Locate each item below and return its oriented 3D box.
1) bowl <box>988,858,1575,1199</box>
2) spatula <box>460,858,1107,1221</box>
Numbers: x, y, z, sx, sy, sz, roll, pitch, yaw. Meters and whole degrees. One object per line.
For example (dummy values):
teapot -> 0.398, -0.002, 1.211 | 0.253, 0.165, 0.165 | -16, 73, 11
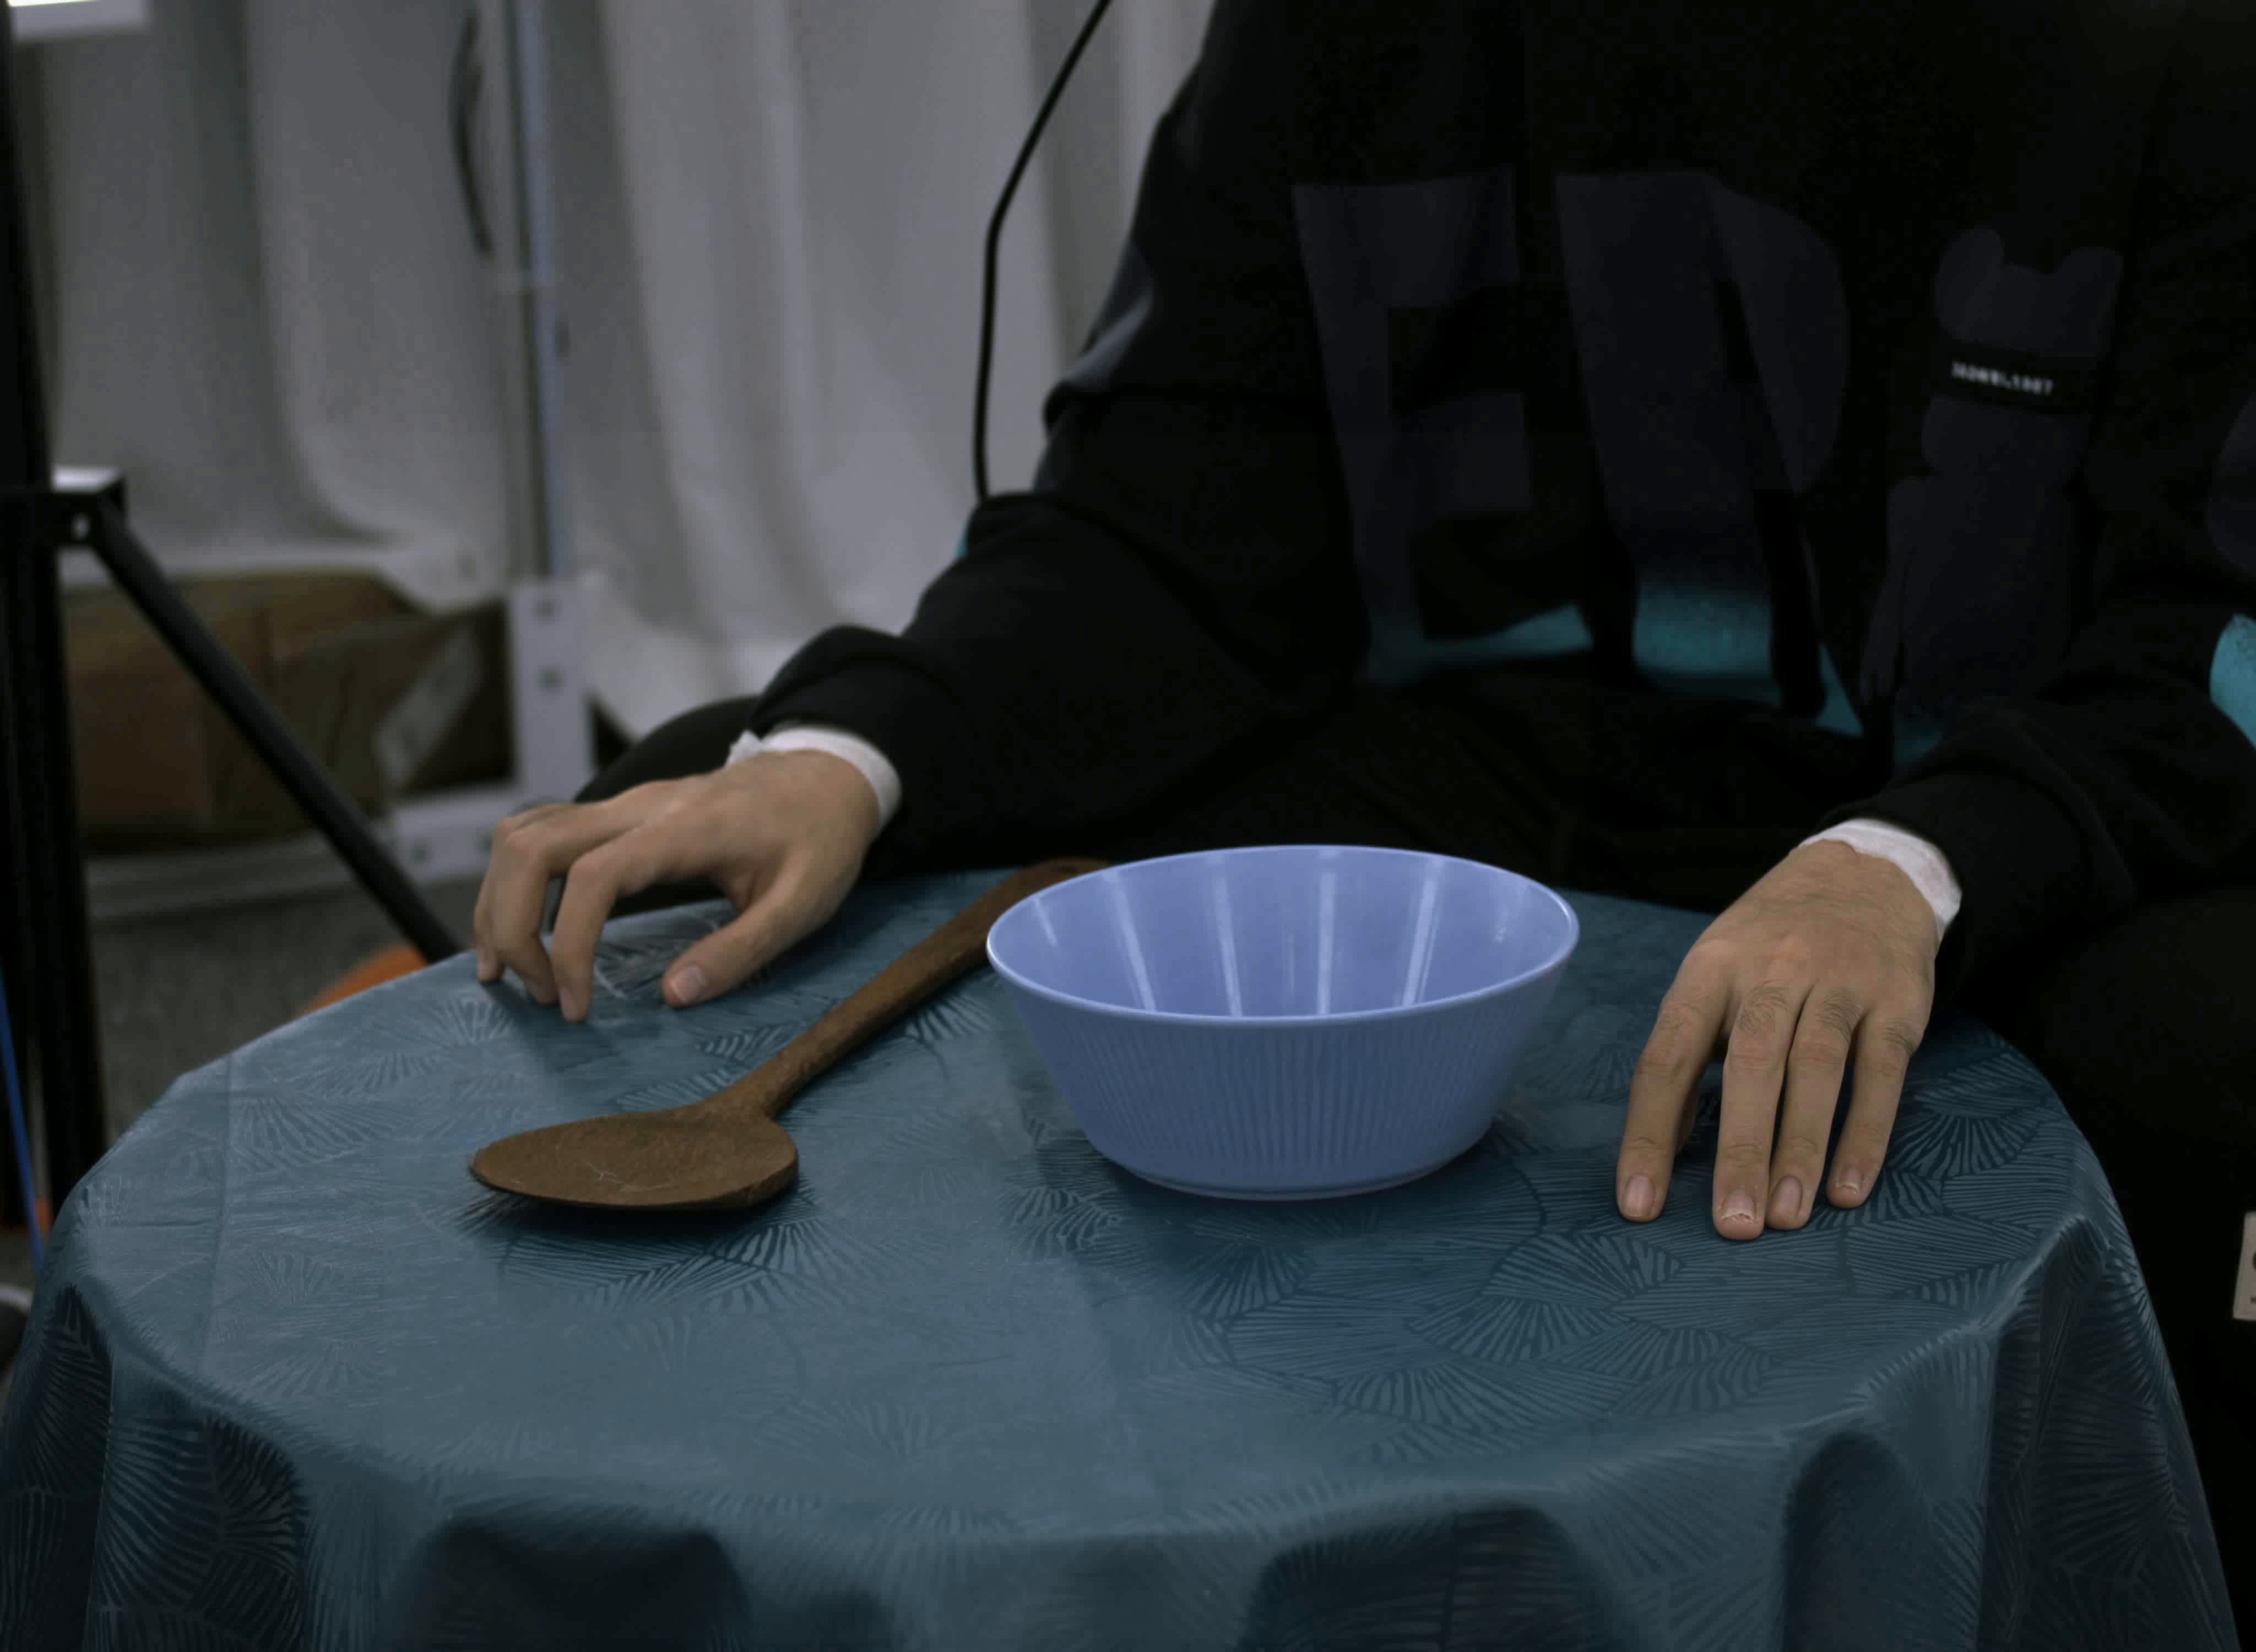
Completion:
bowl -> 0.046, 0.063, 1.585 | 0.175, 0.070, 0.177 | -2, 15, -1
spatula -> -0.088, 0.063, 1.708 | 0.097, 0.016, 0.380 | 5, 17, 22
